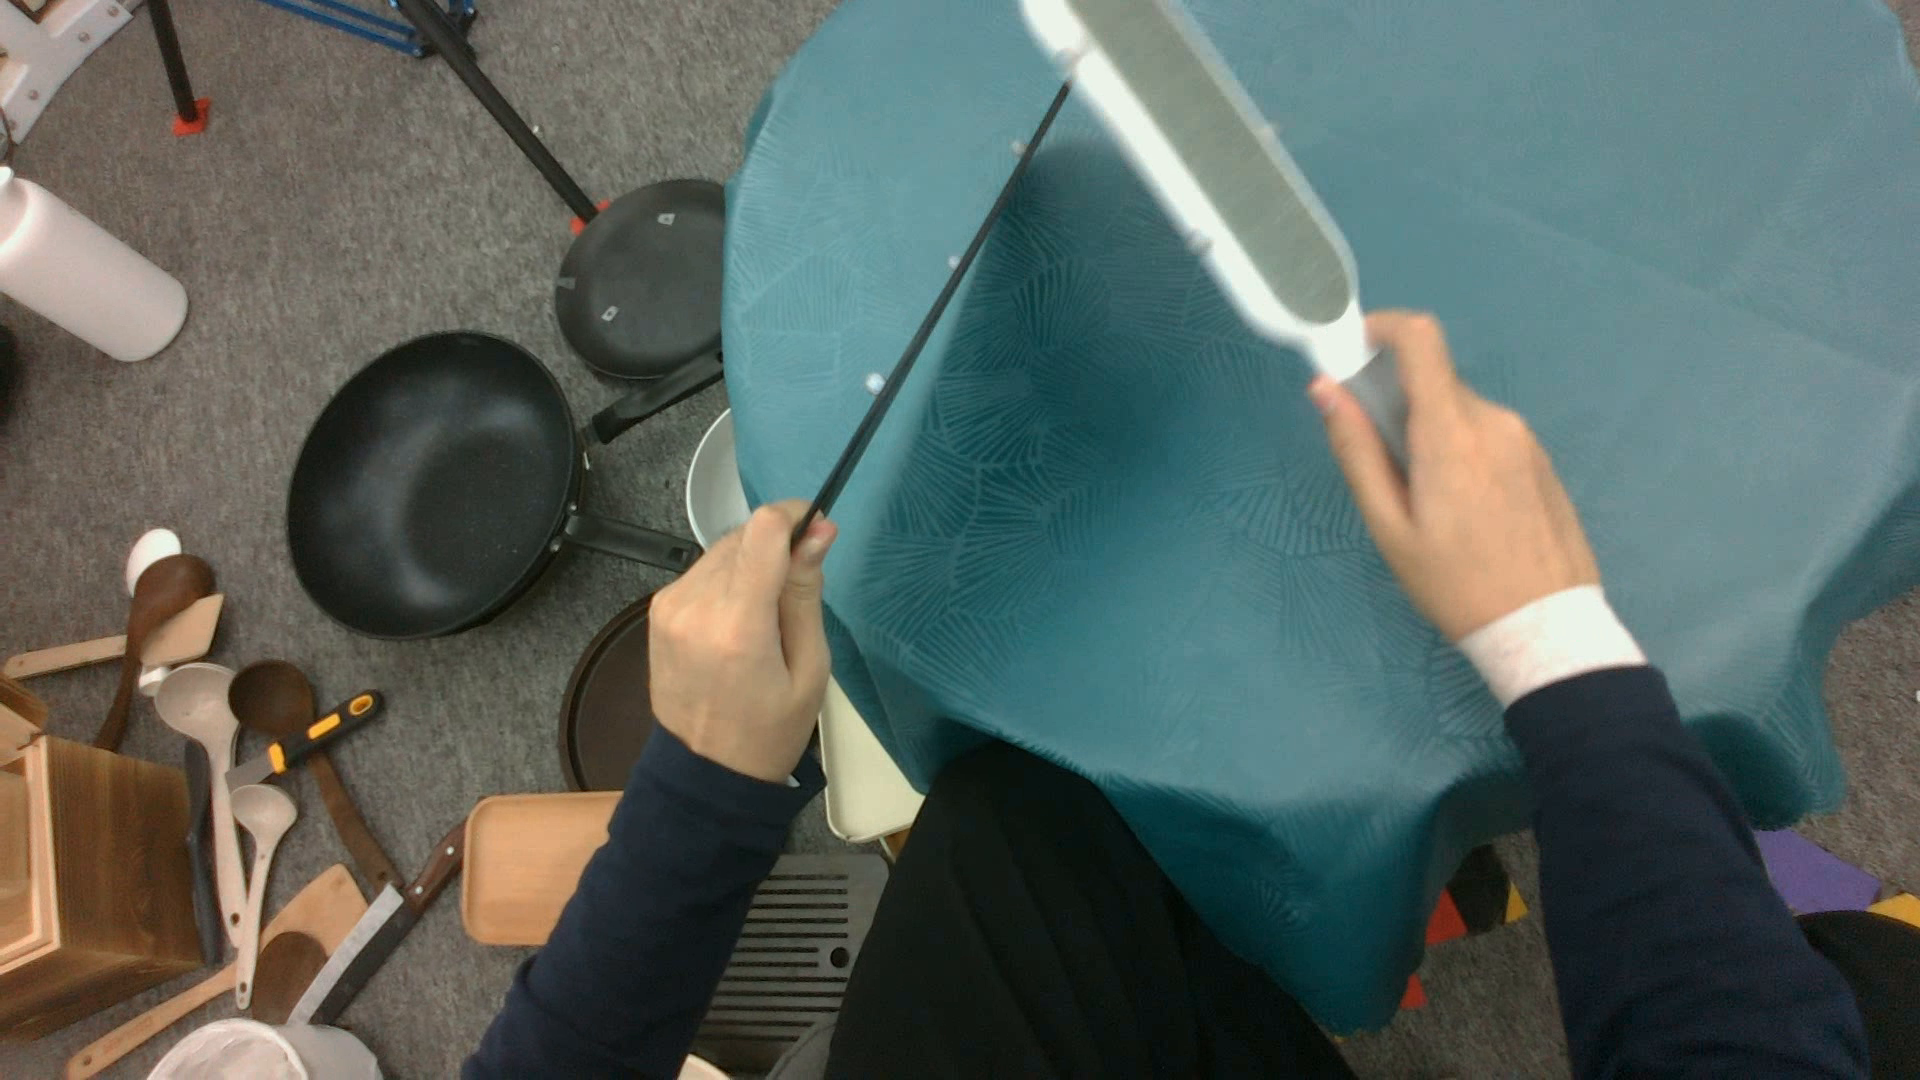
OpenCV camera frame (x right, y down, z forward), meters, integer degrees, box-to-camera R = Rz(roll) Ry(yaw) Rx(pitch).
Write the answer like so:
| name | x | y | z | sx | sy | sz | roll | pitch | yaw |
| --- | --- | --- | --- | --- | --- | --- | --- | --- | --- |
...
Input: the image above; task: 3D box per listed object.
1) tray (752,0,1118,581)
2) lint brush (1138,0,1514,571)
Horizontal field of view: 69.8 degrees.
| name | x | y | z | sx | sy | sz | roll | pitch | yaw |
| --- | --- | --- | --- | --- | --- | --- | --- | --- | --- |
| tray | -0.004 | -0.124 | 0.594 | 0.010 | 0.210 | 0.326 | 32 | 68 | -7 |
| lint brush | 0.141 | -0.122 | 0.541 | 0.060 | 0.021 | 0.308 | -34 | 97 | -38 |
